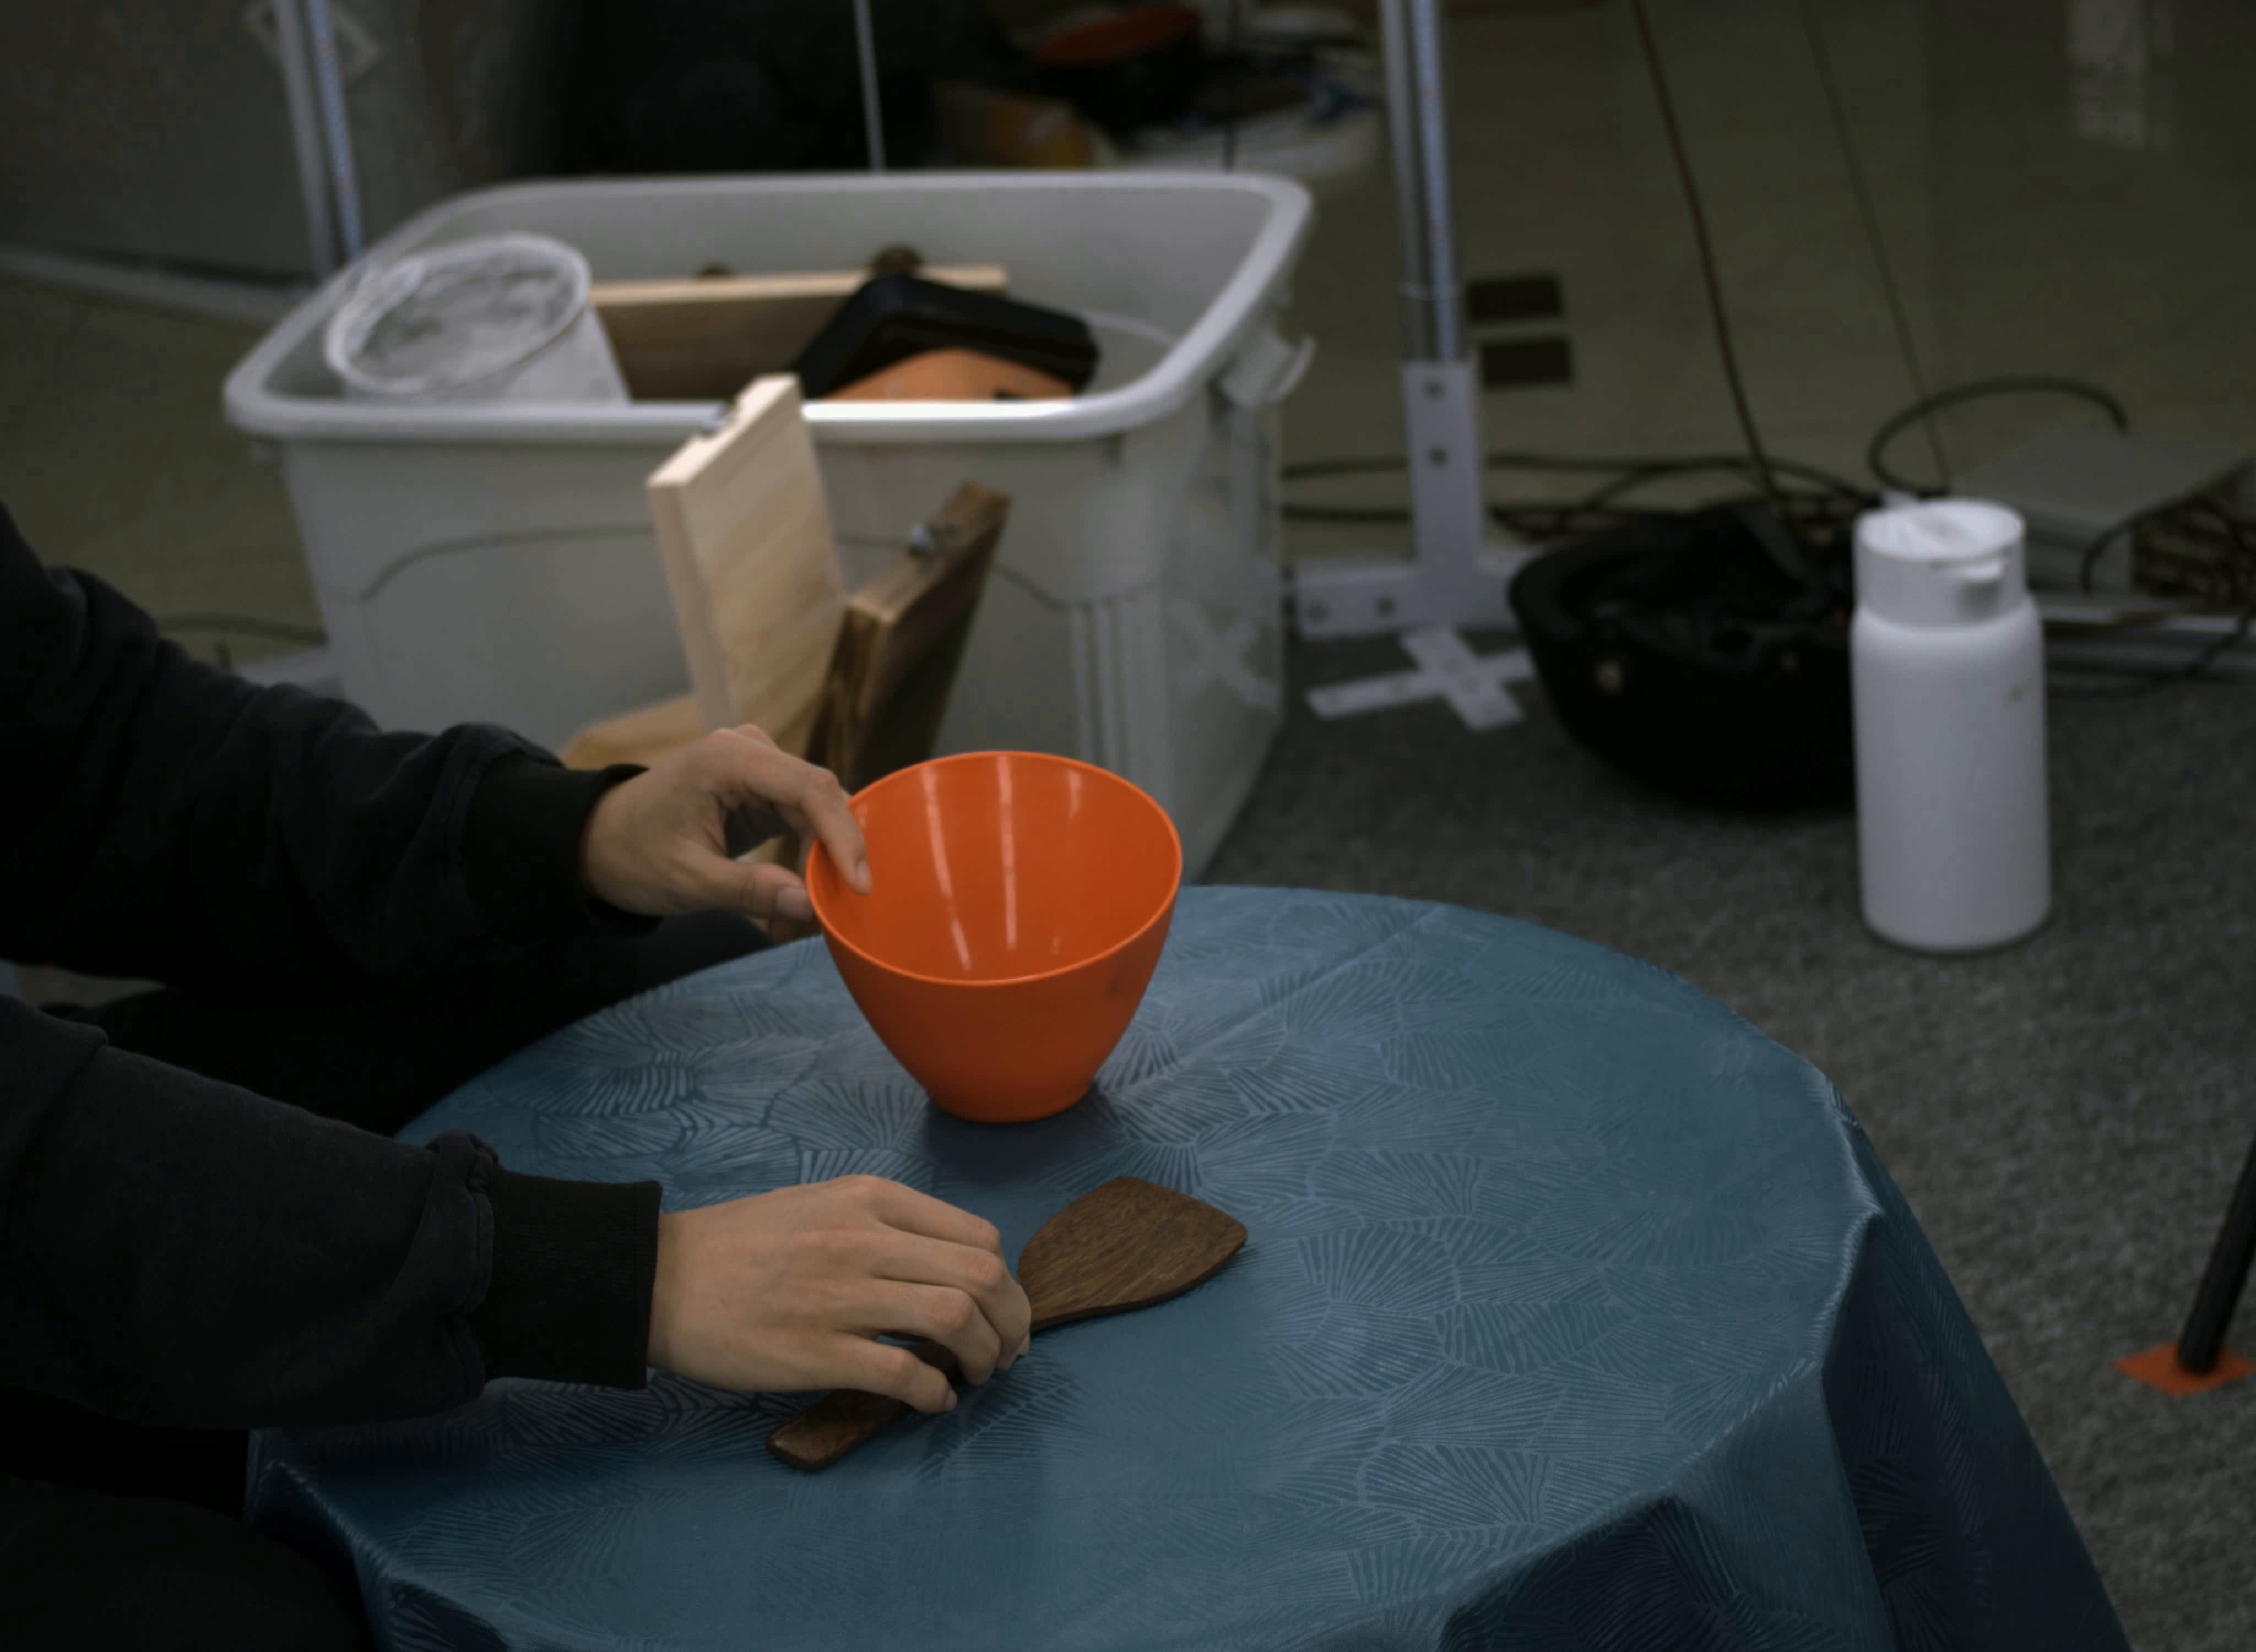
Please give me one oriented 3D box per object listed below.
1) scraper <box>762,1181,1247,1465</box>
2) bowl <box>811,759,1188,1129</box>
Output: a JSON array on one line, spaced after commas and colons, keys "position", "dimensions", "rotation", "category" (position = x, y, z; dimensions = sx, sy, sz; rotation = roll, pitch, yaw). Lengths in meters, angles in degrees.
[{"position": [-0.049, 0.182, 2.058], "dimensions": [0.075, 0.011, 0.209], "rotation": [21, 36, 40], "category": "scraper"}, {"position": [-0.049, 0.053, 2.223], "dimensions": [0.148, 0.106, 0.146], "rotation": [-2, 28, 1], "category": "bowl"}]
